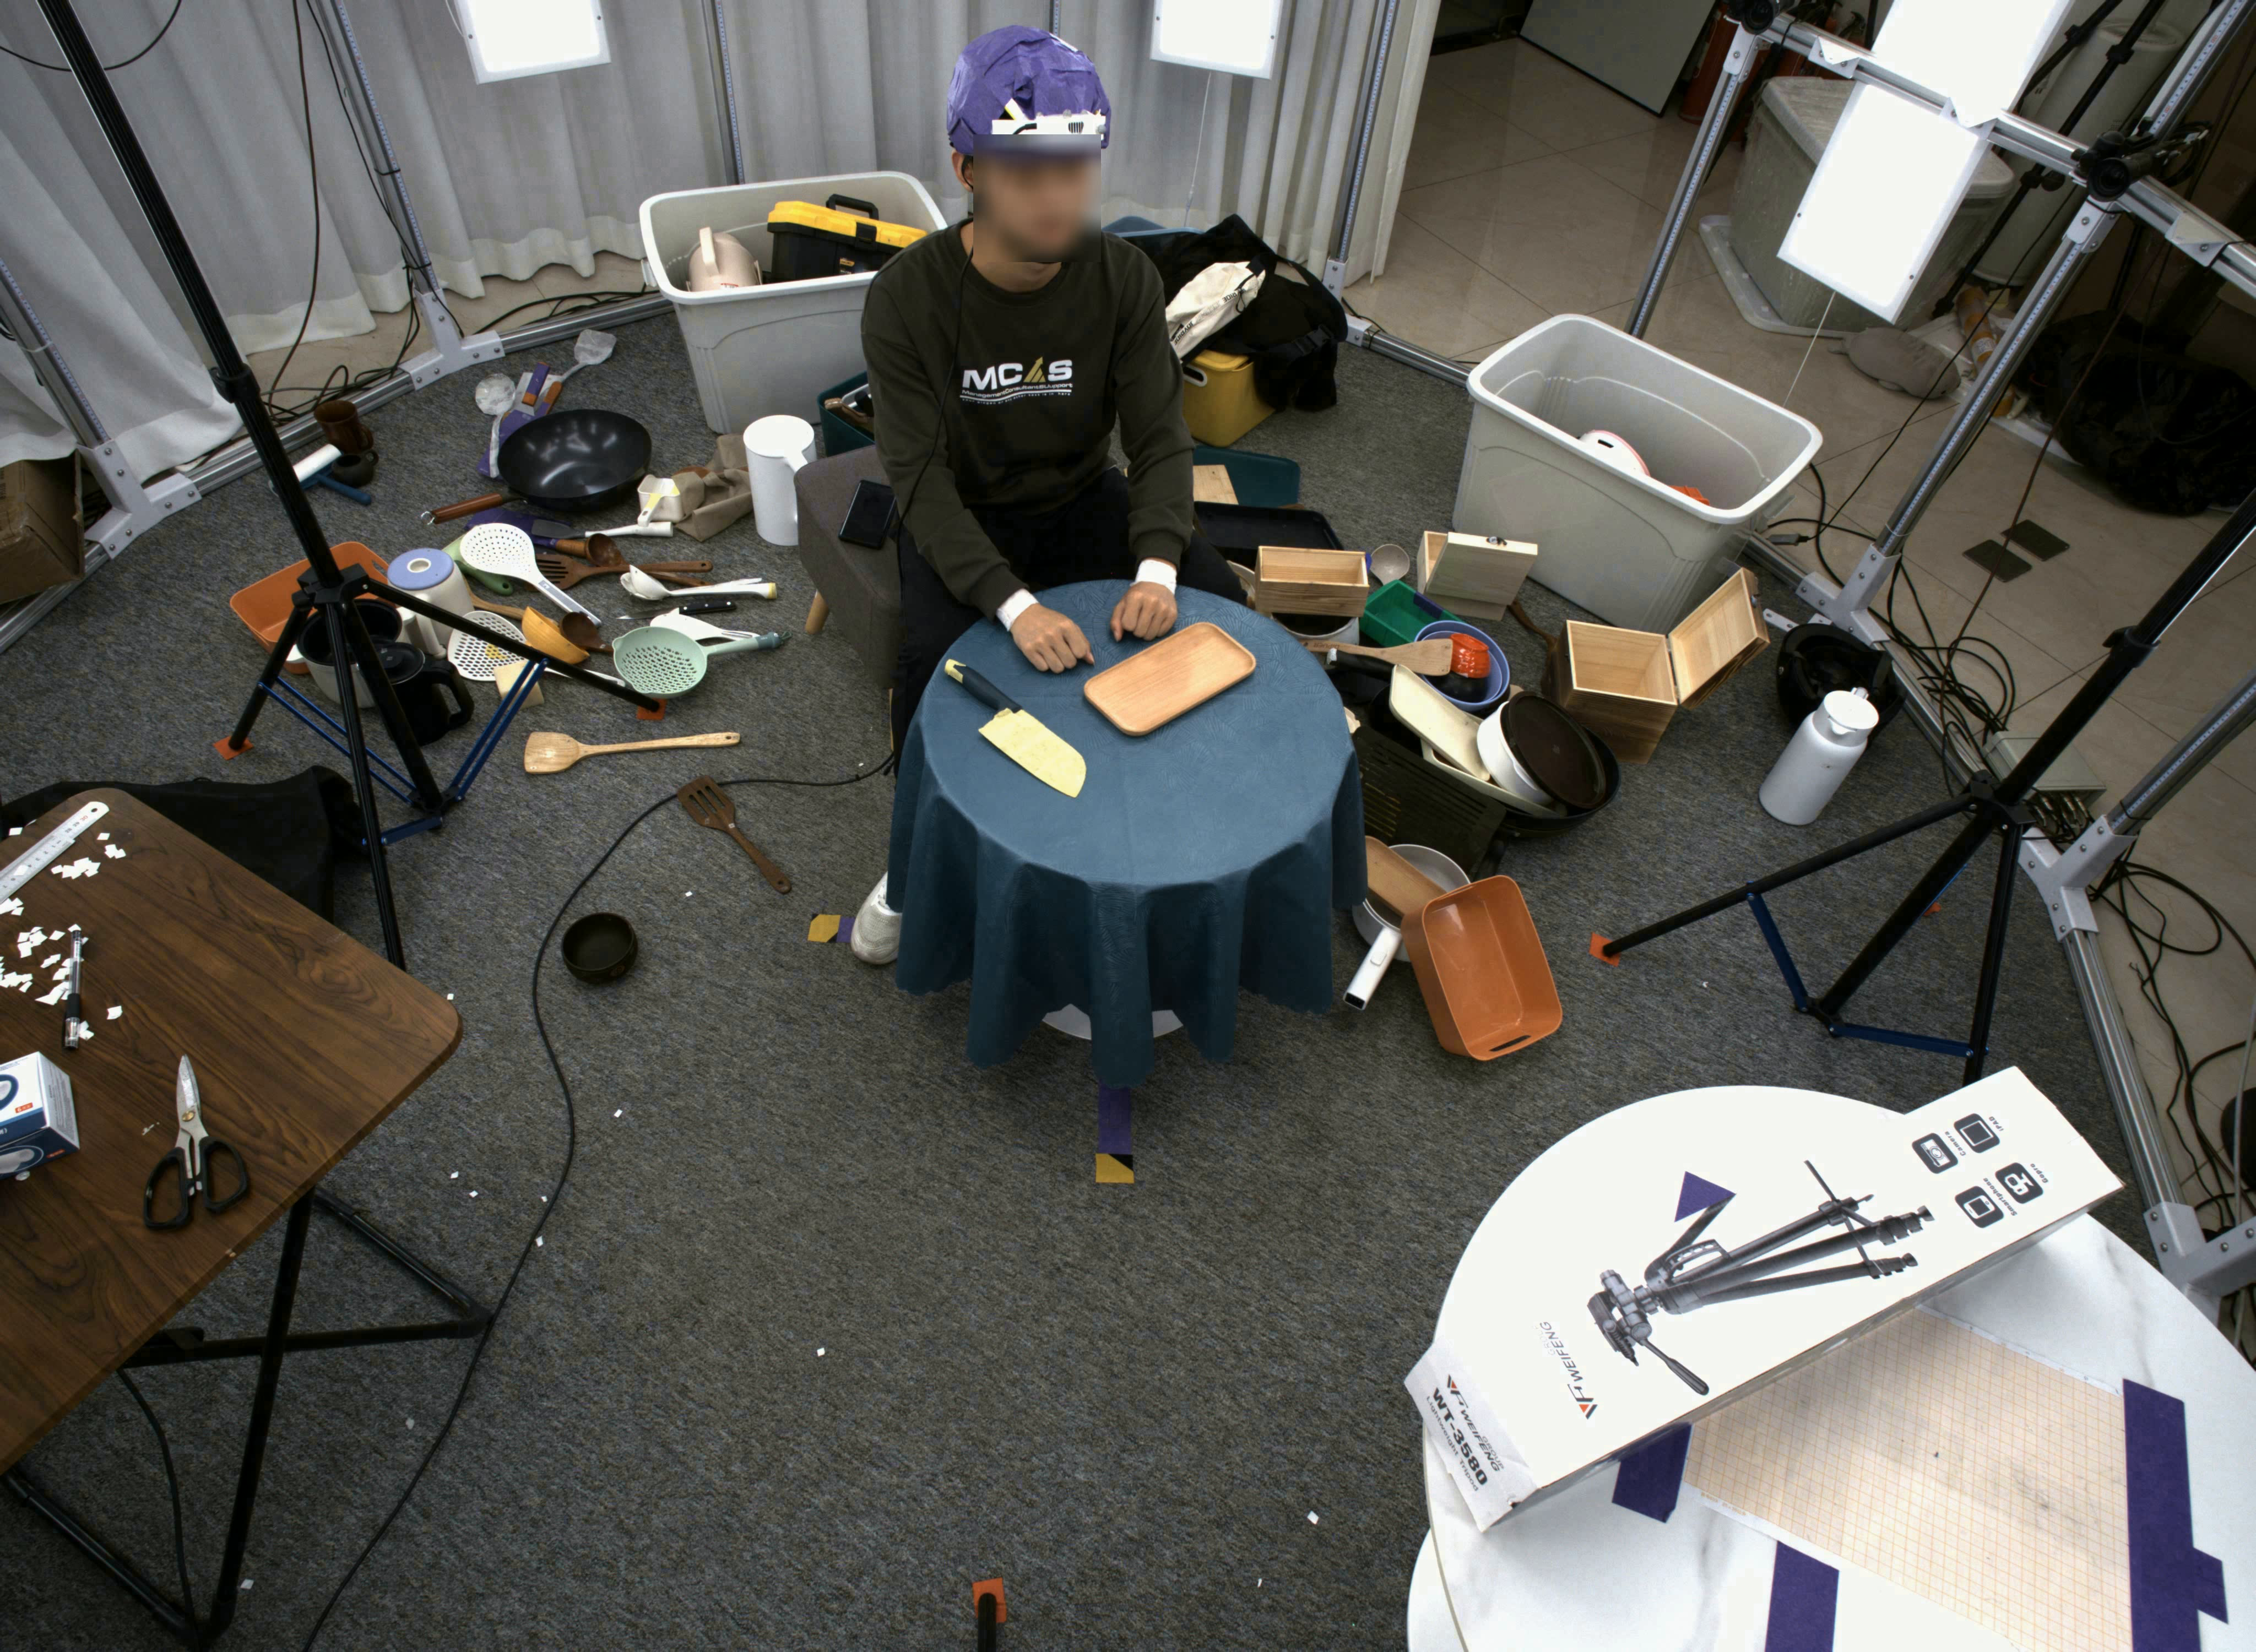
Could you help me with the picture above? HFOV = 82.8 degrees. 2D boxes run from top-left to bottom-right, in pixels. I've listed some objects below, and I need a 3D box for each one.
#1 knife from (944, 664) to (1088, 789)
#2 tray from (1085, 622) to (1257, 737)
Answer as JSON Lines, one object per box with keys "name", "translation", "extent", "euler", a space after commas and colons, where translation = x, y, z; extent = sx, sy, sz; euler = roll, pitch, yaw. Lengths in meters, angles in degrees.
{"name": "knife", "translation": [-0.162, -0.136, 1.765], "extent": [0.082, 0.026, 0.294], "euler": [-34, 60, -30]}
{"name": "tray", "translation": [0.063, -0.212, 1.845], "extent": [0.252, 0.022, 0.133], "euler": [-31, 55, -26]}
